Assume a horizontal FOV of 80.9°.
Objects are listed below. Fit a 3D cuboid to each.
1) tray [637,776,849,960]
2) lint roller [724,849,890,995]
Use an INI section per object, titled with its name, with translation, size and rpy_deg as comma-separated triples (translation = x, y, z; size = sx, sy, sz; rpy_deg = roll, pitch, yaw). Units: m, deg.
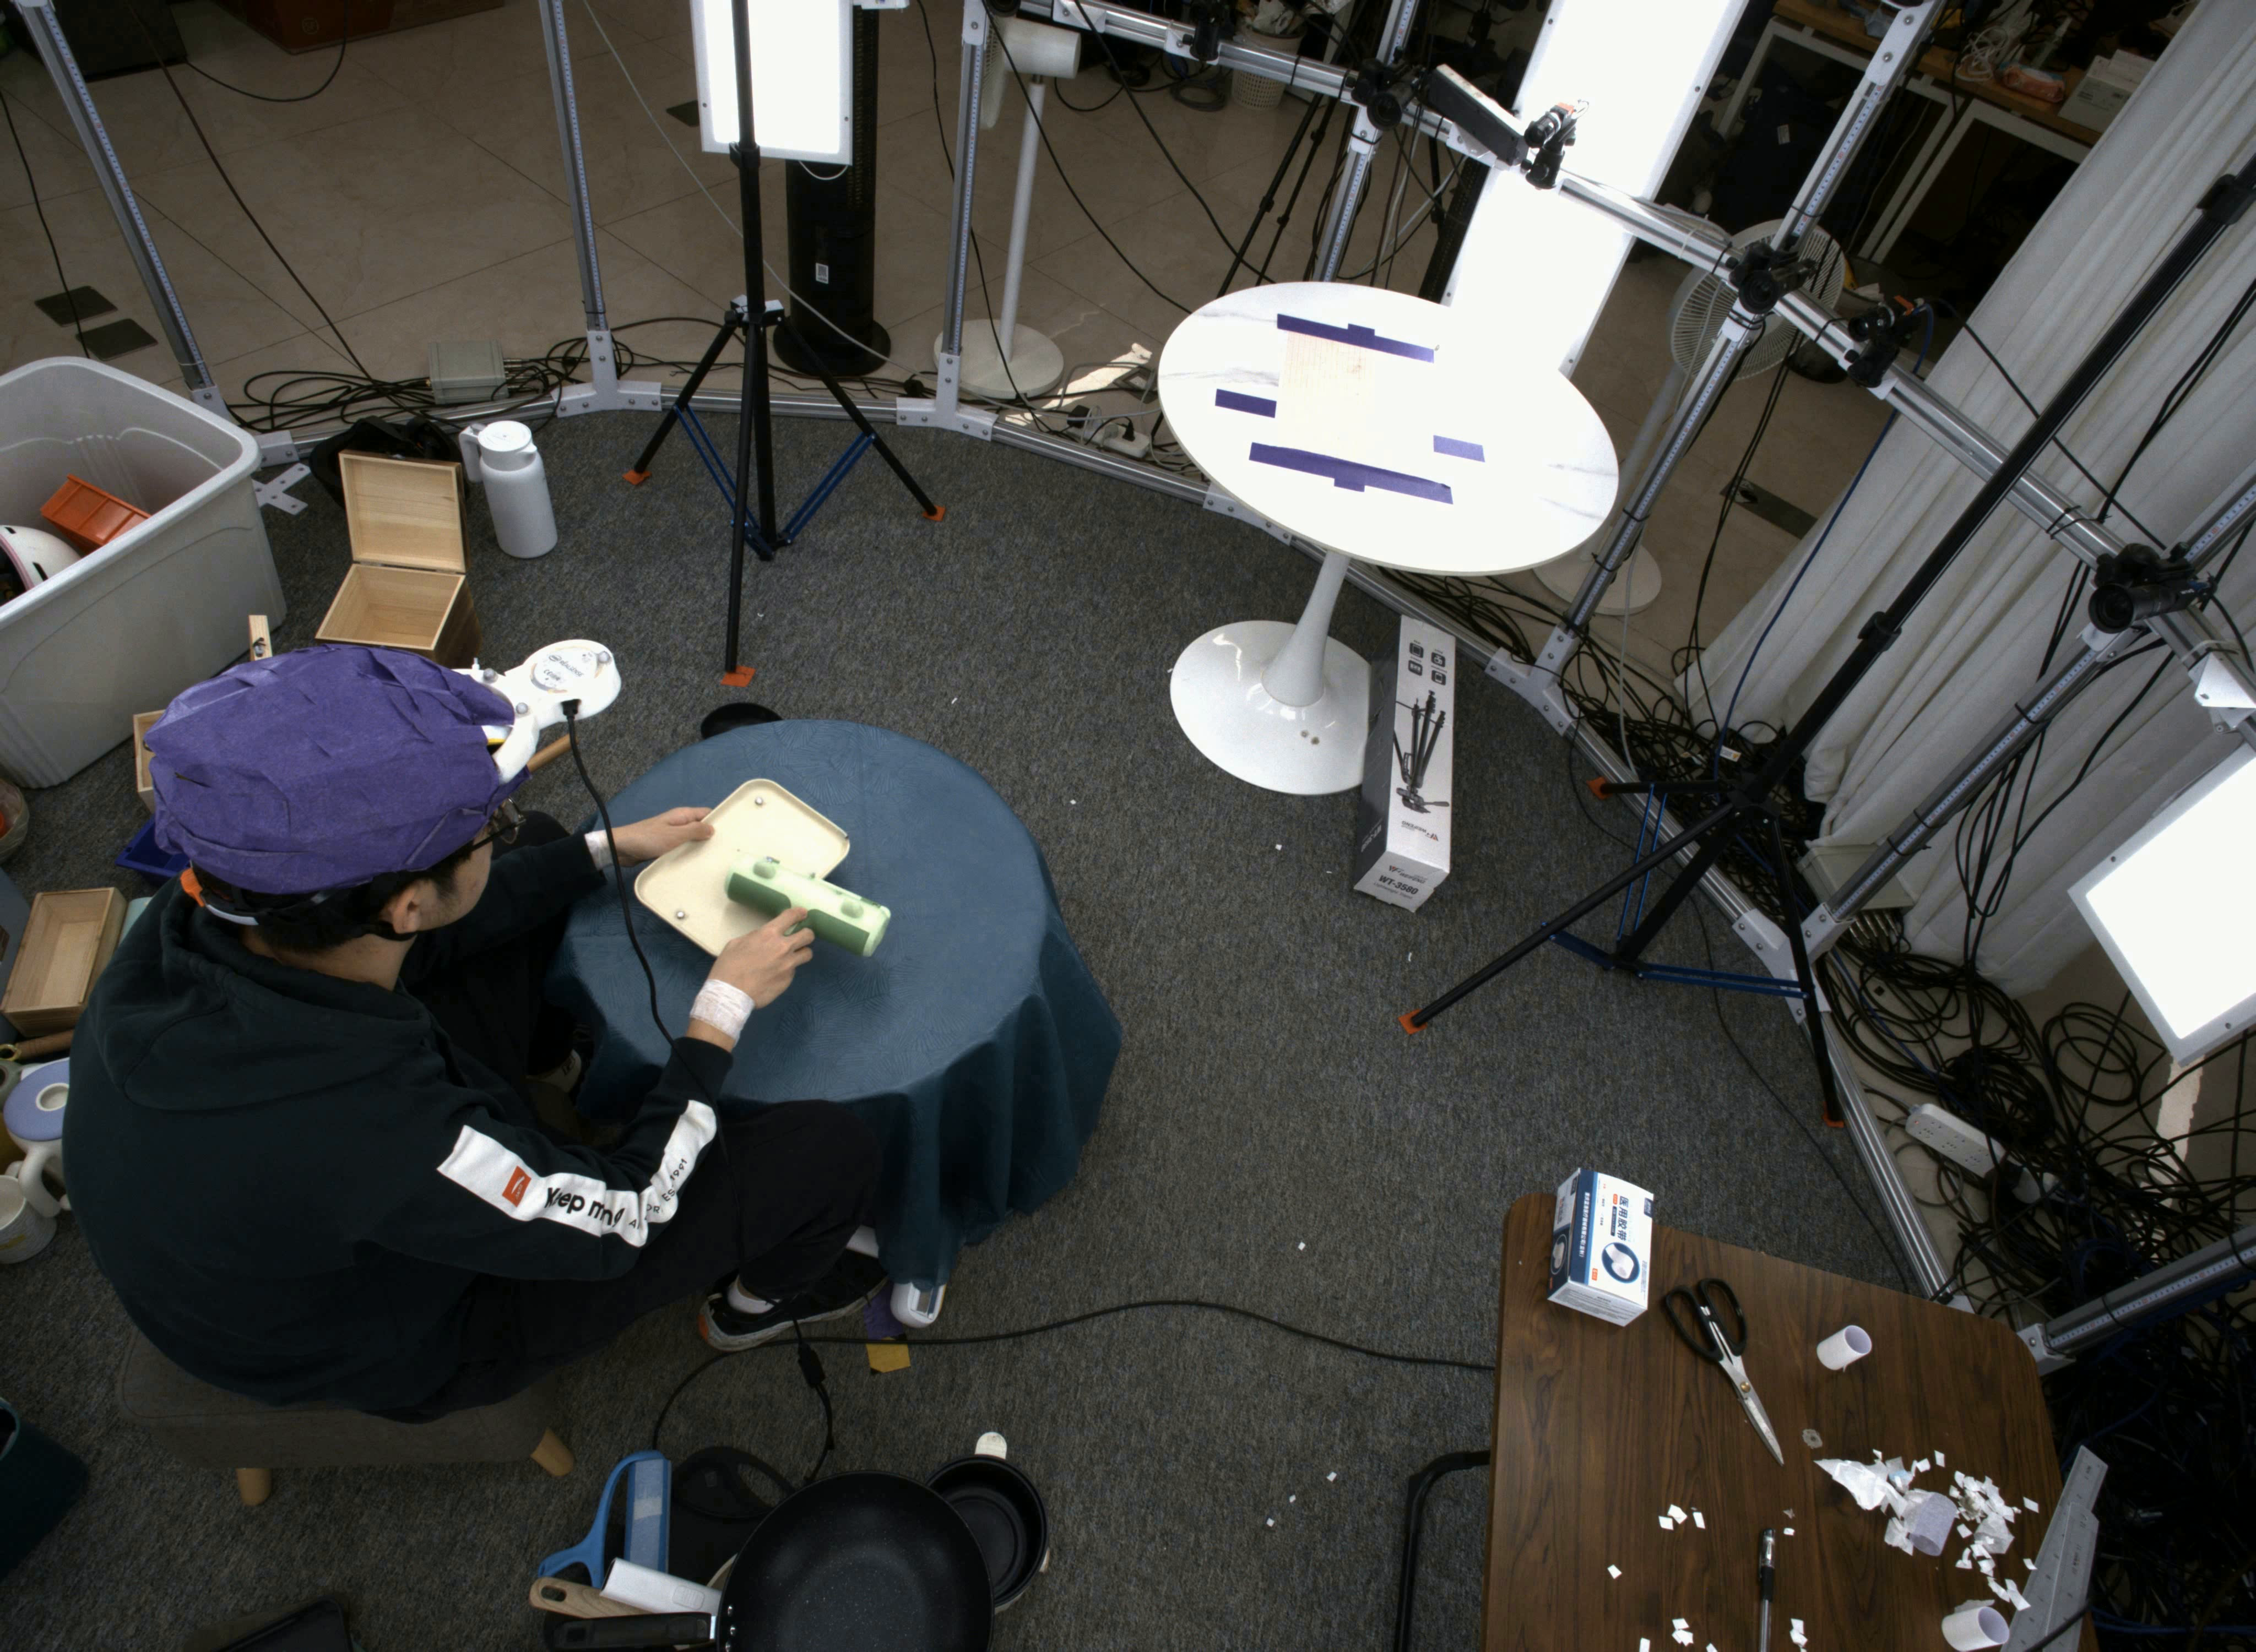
[tray]
translation = -0.476, 0.049, 1.606
size = 0.169, 0.018, 0.239
rpy_deg = 33, 54, 7
[lint roller]
translation = -0.400, 0.114, 1.516
size = 0.197, 0.083, 0.181
rpy_deg = 25, 36, -1
